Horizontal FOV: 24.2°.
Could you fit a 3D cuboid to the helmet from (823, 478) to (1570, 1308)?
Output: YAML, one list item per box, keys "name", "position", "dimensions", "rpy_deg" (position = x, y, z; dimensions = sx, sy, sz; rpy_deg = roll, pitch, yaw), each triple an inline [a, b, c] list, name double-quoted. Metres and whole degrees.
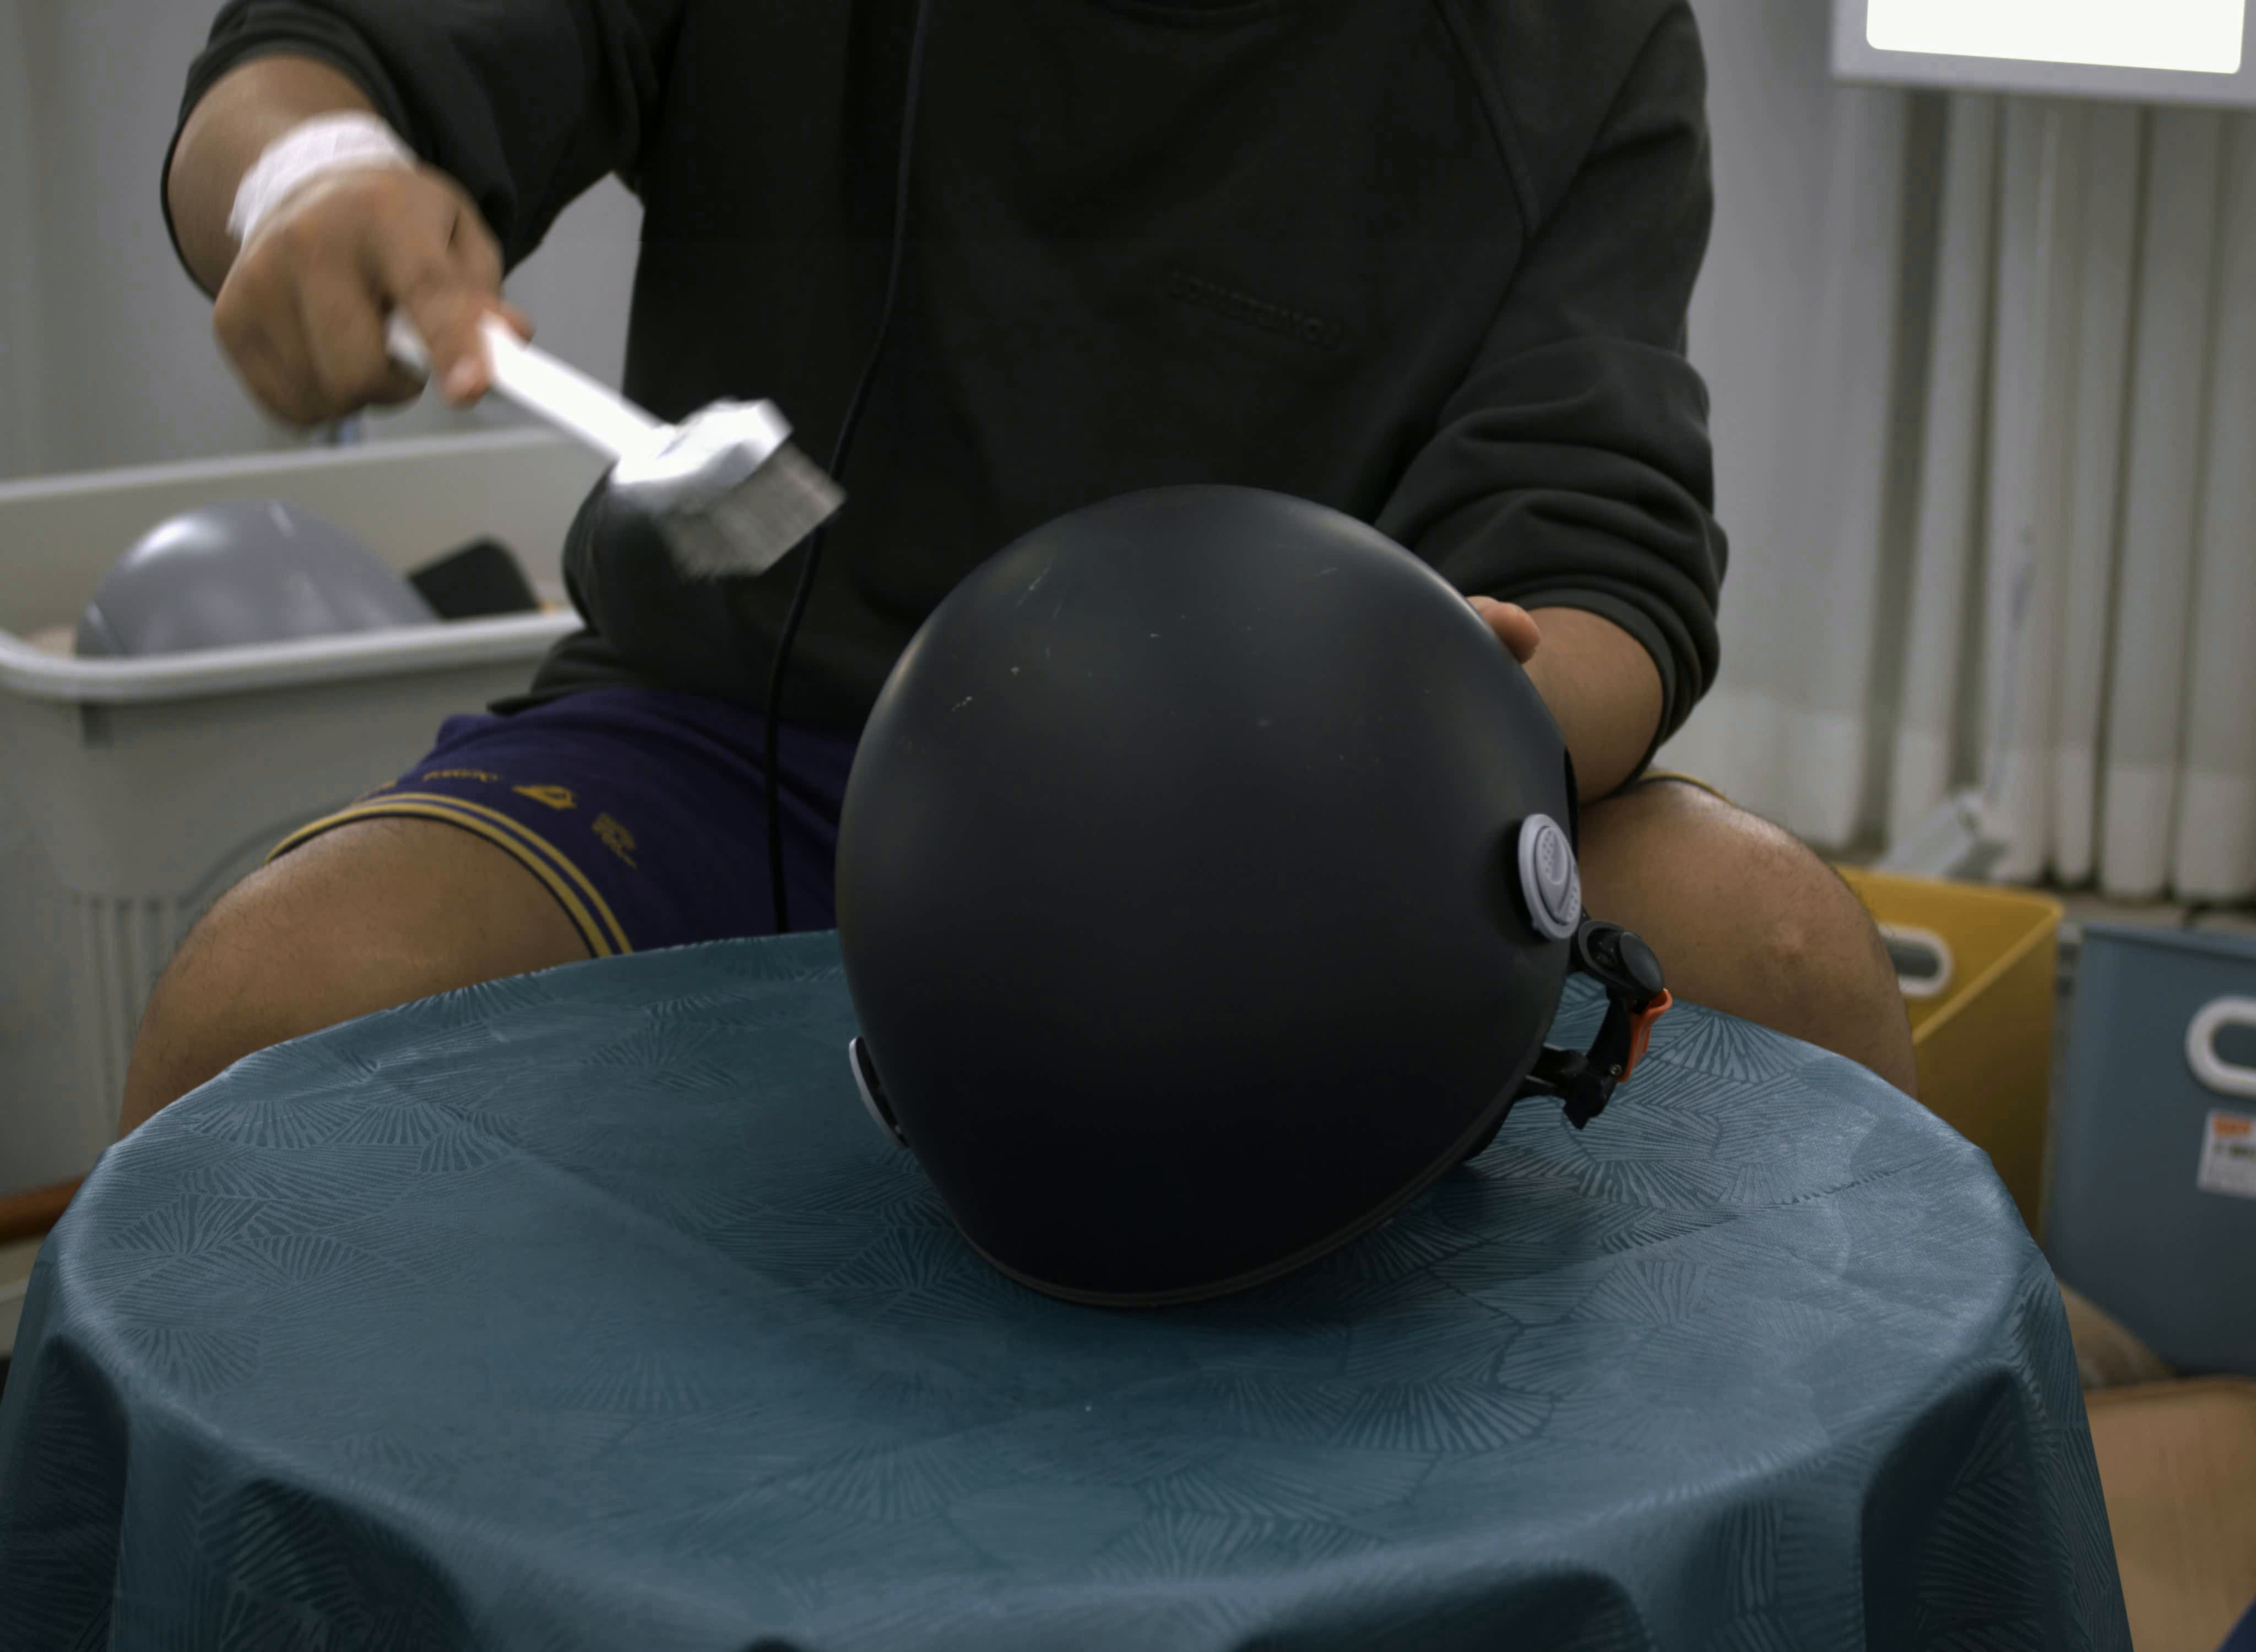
- name: "helmet"
  position: [0.010, -0.002, 1.564]
  dimensions: [0.228, 0.169, 0.271]
  rpy_deg: [-18, 34, 20]

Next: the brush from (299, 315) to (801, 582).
- name: "brush"
  position: [-0.170, -0.110, 1.525]
  dimensions: [0.034, 0.051, 0.240]
  rpy_deg: [-44, 34, -18]
